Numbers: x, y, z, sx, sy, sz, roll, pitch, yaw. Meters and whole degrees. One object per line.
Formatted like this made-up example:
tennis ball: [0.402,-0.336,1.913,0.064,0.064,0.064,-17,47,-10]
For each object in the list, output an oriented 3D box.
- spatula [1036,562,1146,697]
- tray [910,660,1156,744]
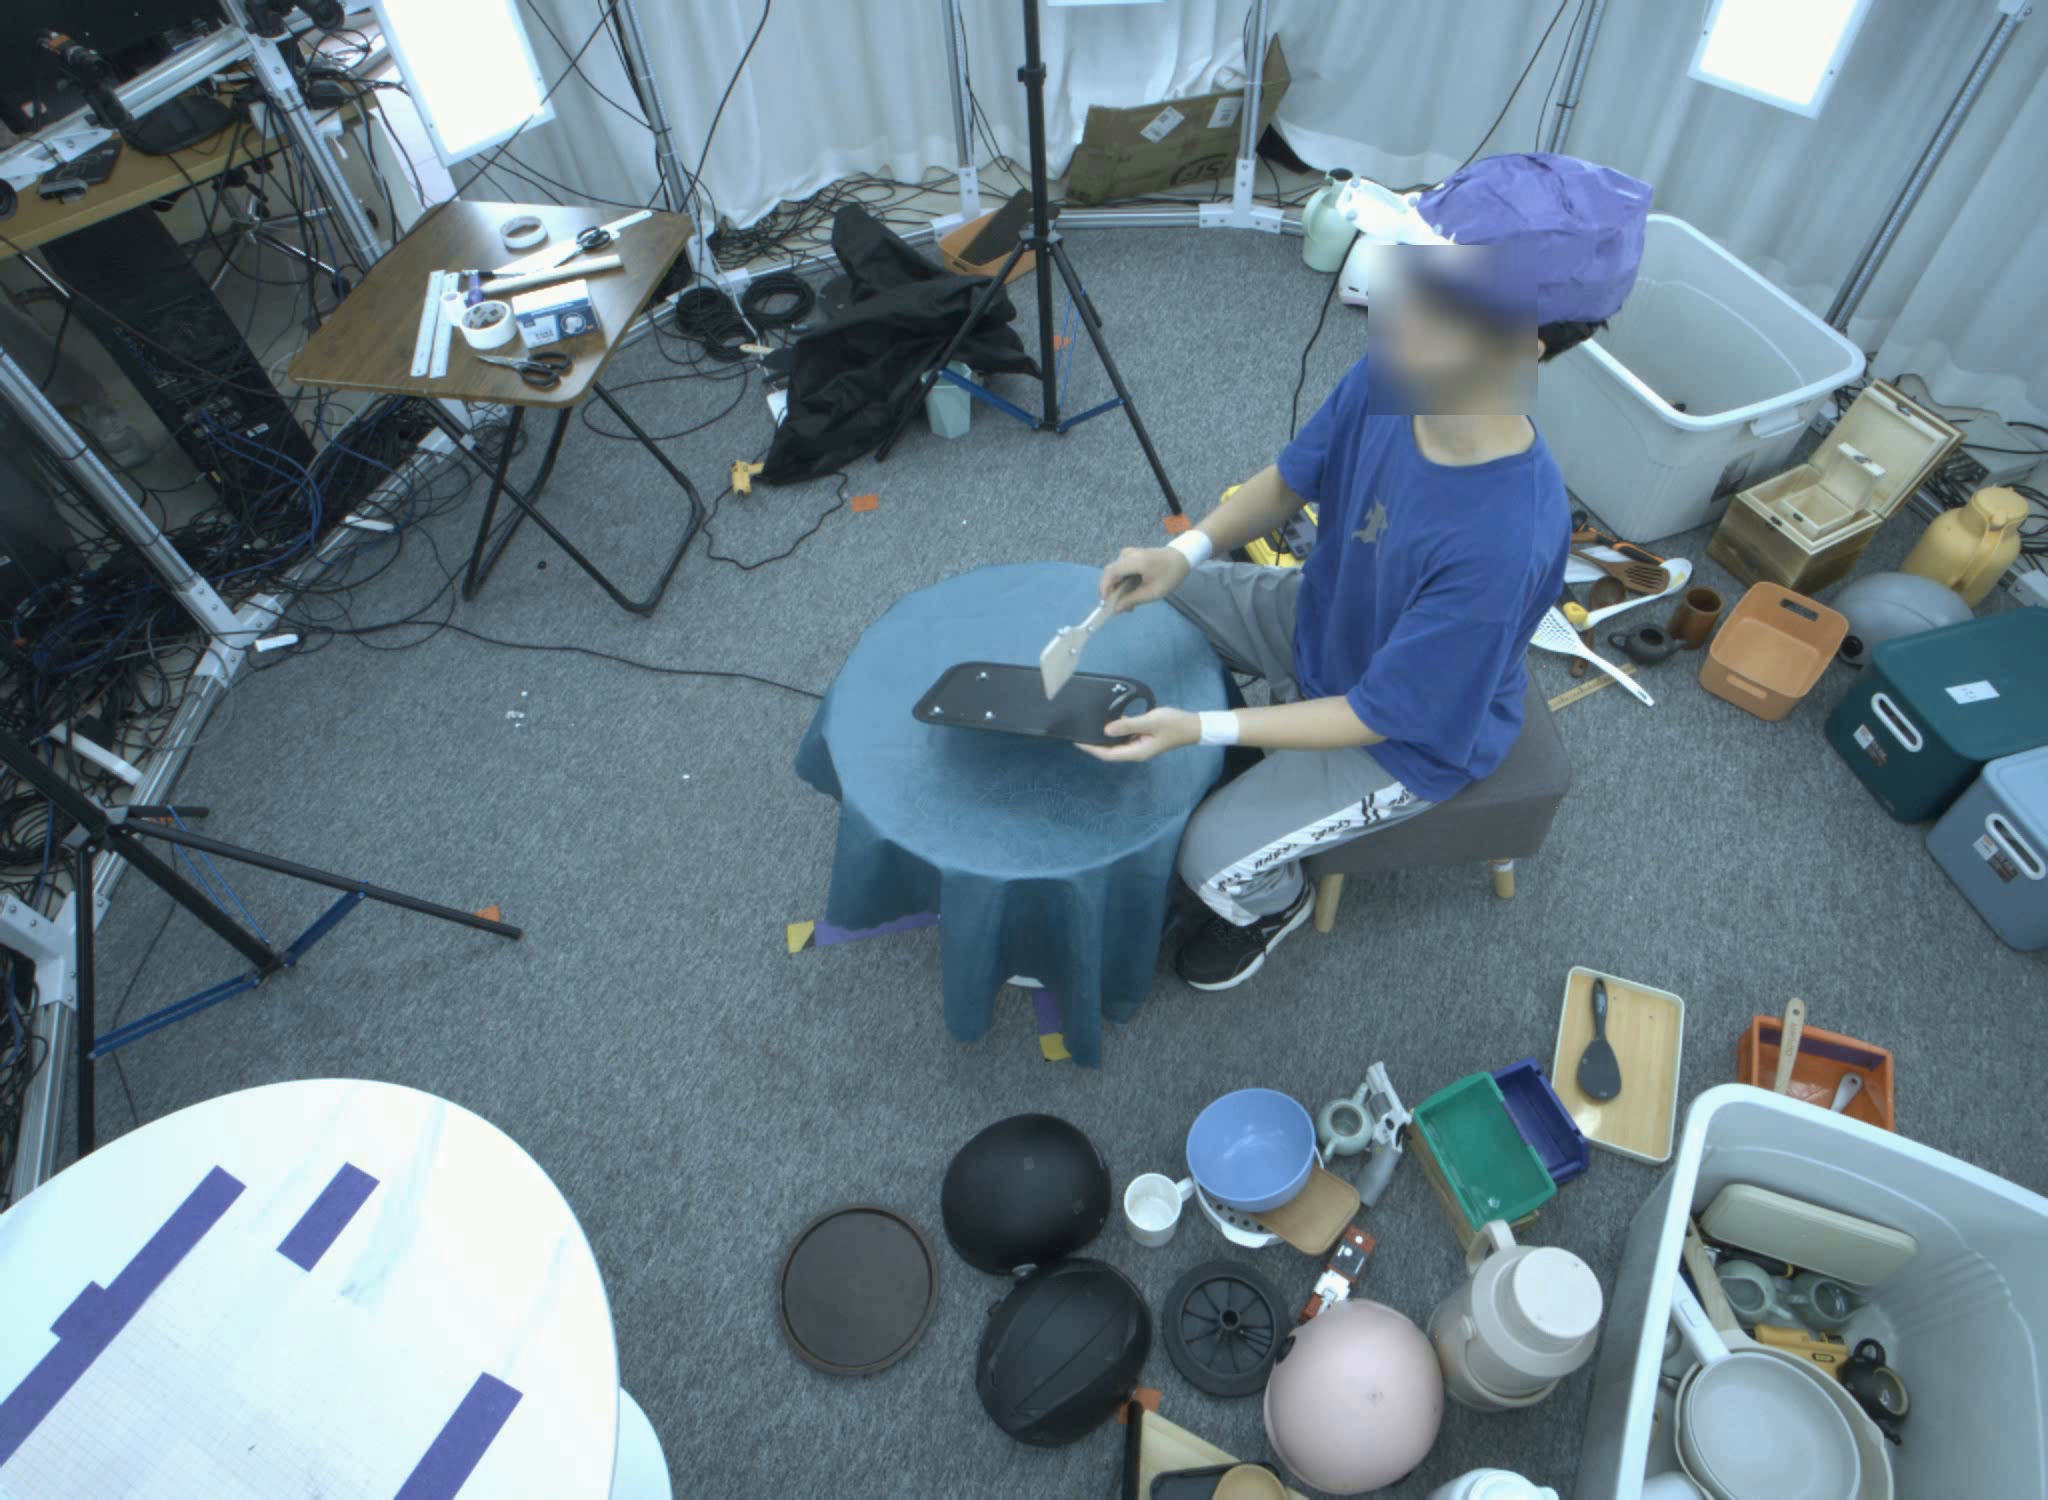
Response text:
spatula: [0.098,-0.184,1.722,0.010,0.073,0.295,14,45,32]
tray: [0.019,-0.070,1.705,0.322,0.010,0.211,8,30,16]
